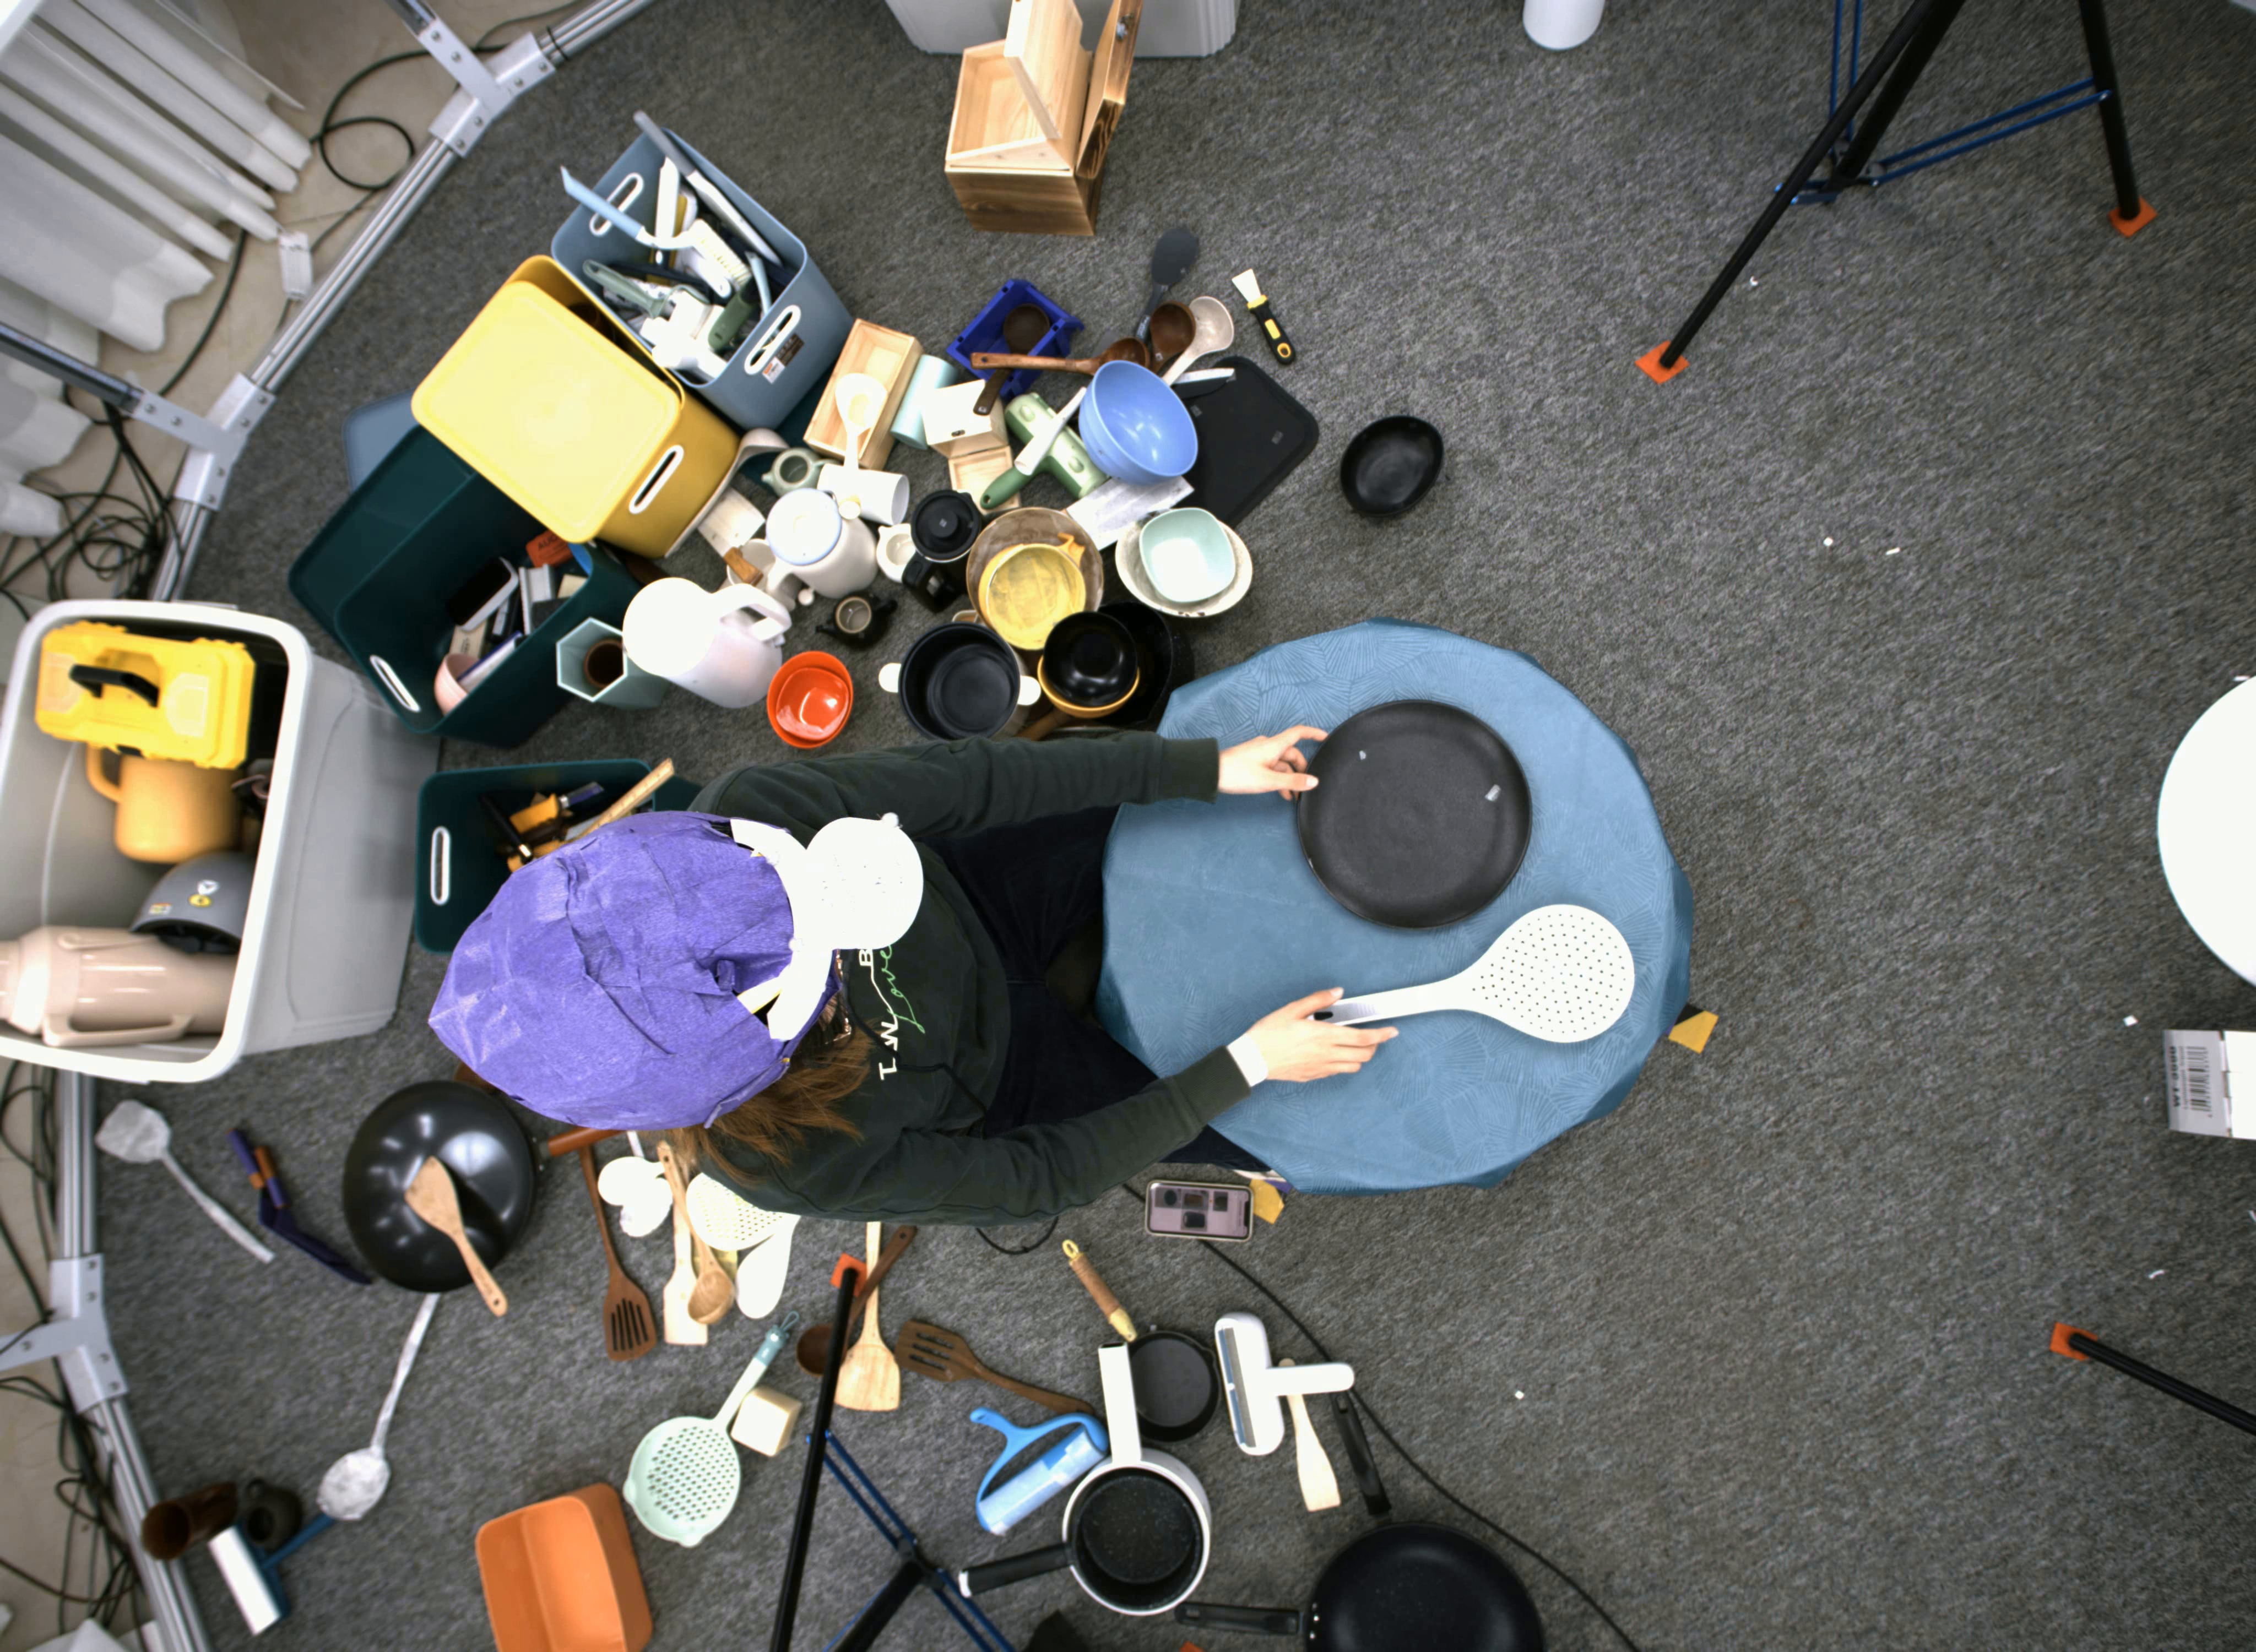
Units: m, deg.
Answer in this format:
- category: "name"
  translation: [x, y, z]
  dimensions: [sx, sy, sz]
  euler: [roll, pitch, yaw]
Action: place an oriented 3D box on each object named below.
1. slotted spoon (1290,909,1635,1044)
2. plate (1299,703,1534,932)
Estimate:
- category: "slotted spoon"
  translation: [0.340, 0.172, 1.422]
  dimensions: [0.351, 0.046, 0.135]
  euler: [-11, 82, 10]
- category: "plate"
  translation: [0.302, -0.010, 1.453]
  dimensions: [0.245, 0.023, 0.243]
  euler: [-1, 86, 10]
